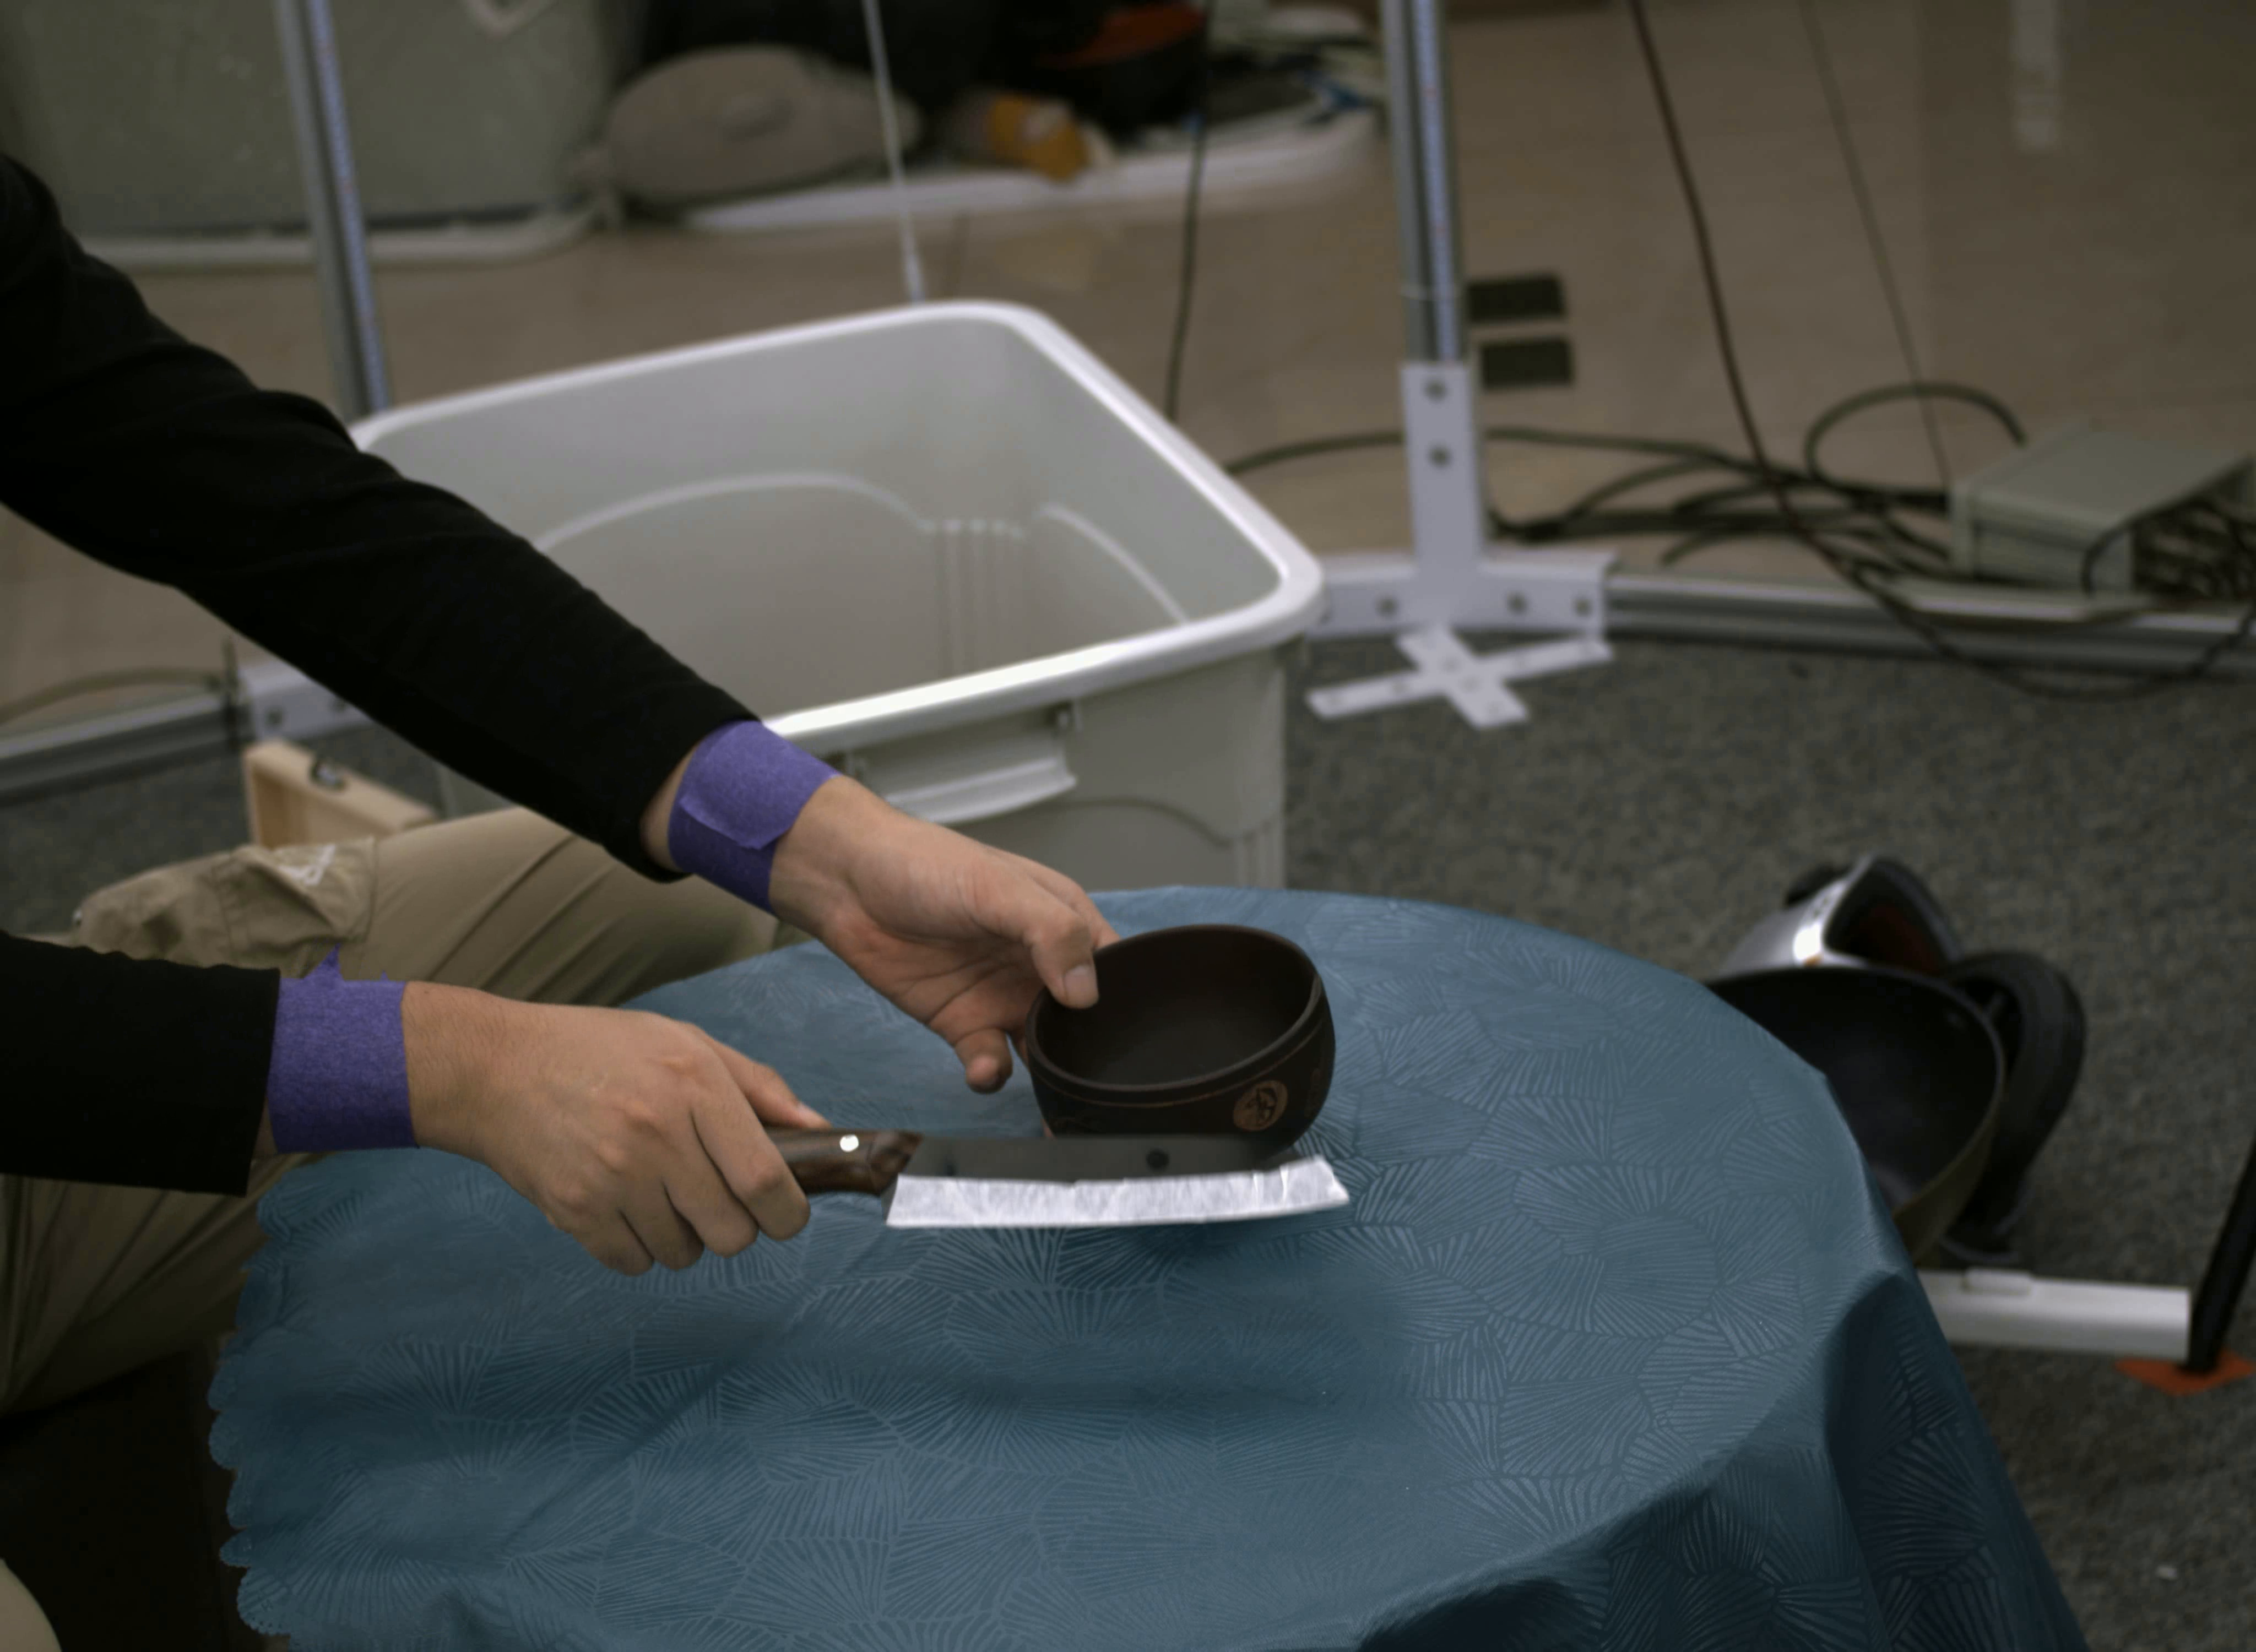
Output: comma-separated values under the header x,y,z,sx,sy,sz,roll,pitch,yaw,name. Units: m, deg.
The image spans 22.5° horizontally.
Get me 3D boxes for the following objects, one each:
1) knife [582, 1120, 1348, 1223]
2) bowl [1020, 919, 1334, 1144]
x,y,z,sx,sy,sz,roll,pitch,yaw,name
-0.061,0.123,2.026,0.288,0.020,0.049,0,46,16,knife
0.022,0.095,2.147,0.118,0.071,0.116,-10,31,6,bowl
